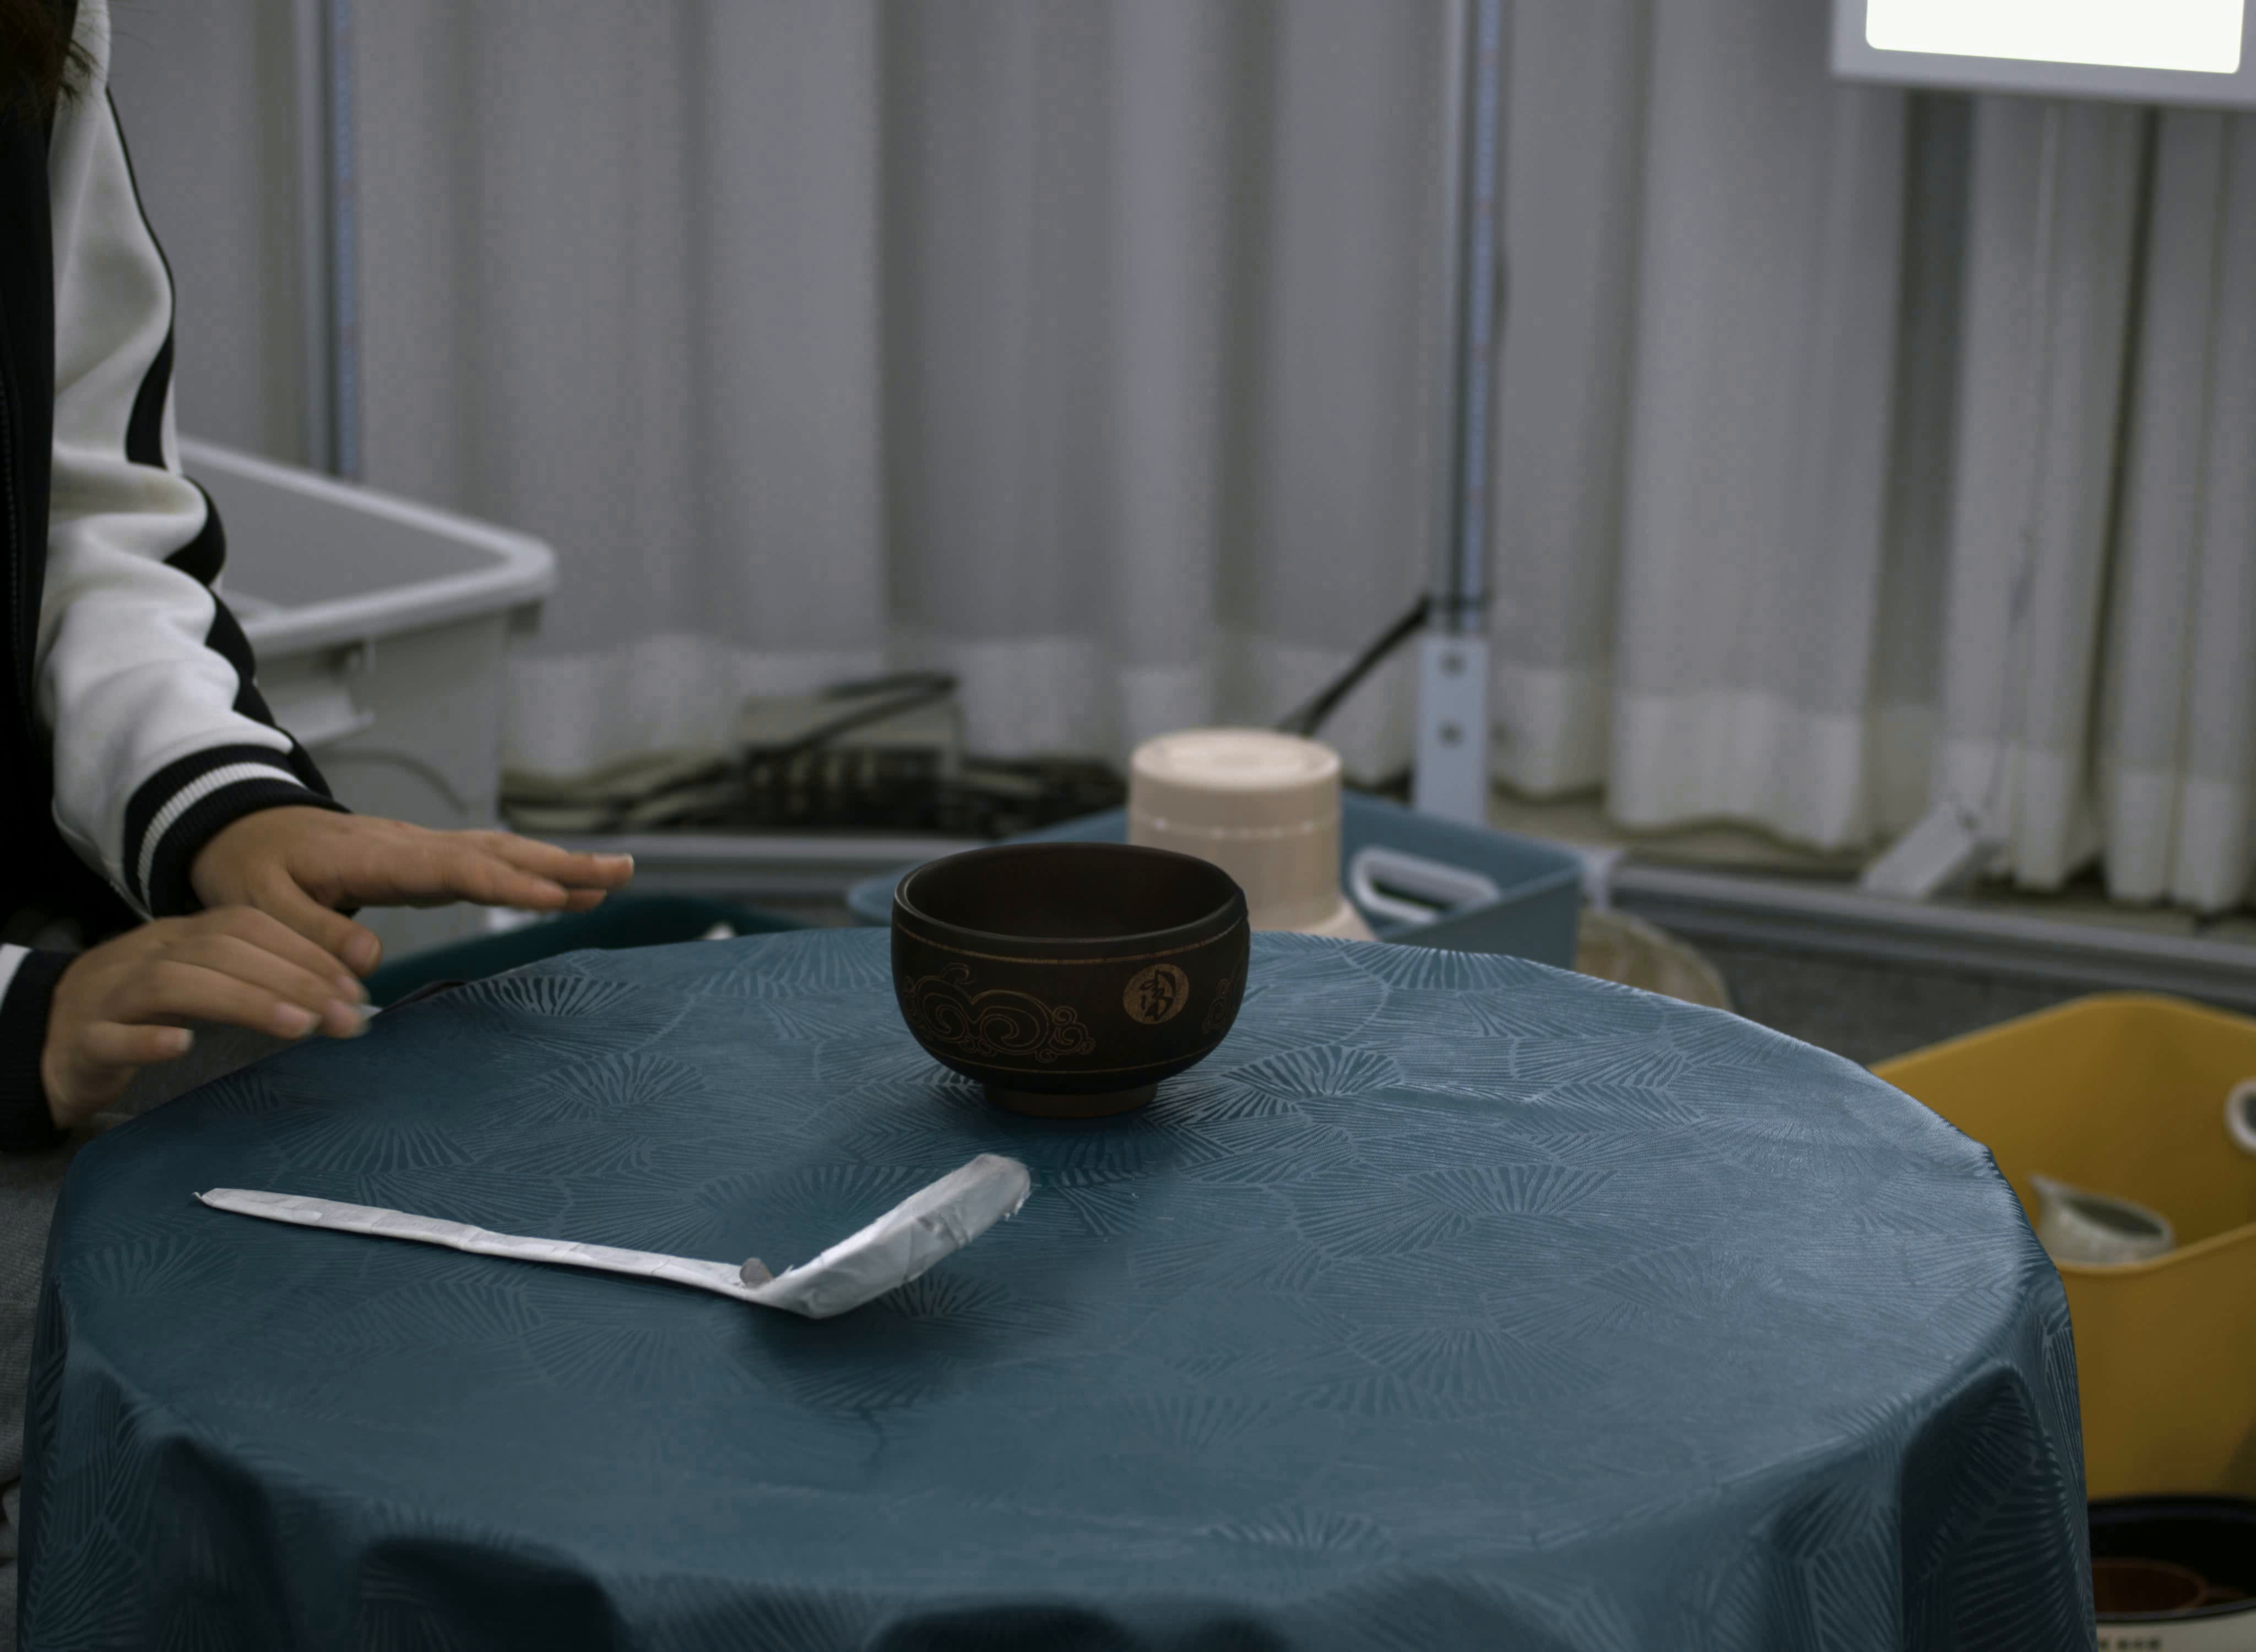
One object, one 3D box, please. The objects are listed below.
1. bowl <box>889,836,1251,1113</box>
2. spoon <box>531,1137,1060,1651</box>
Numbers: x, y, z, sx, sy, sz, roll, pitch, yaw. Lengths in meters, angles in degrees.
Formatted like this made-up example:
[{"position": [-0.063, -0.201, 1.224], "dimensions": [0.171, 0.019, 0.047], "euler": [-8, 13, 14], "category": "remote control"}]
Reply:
[{"position": [-0.019, 0.051, 1.703], "dimensions": [0.117, 0.070, 0.117], "euler": [1, 15, 0], "category": "bowl"}, {"position": [-0.116, 0.198, 1.514], "dimensions": [0.059, 0.278, 0.101], "euler": [31, -2, 6], "category": "spoon"}]
